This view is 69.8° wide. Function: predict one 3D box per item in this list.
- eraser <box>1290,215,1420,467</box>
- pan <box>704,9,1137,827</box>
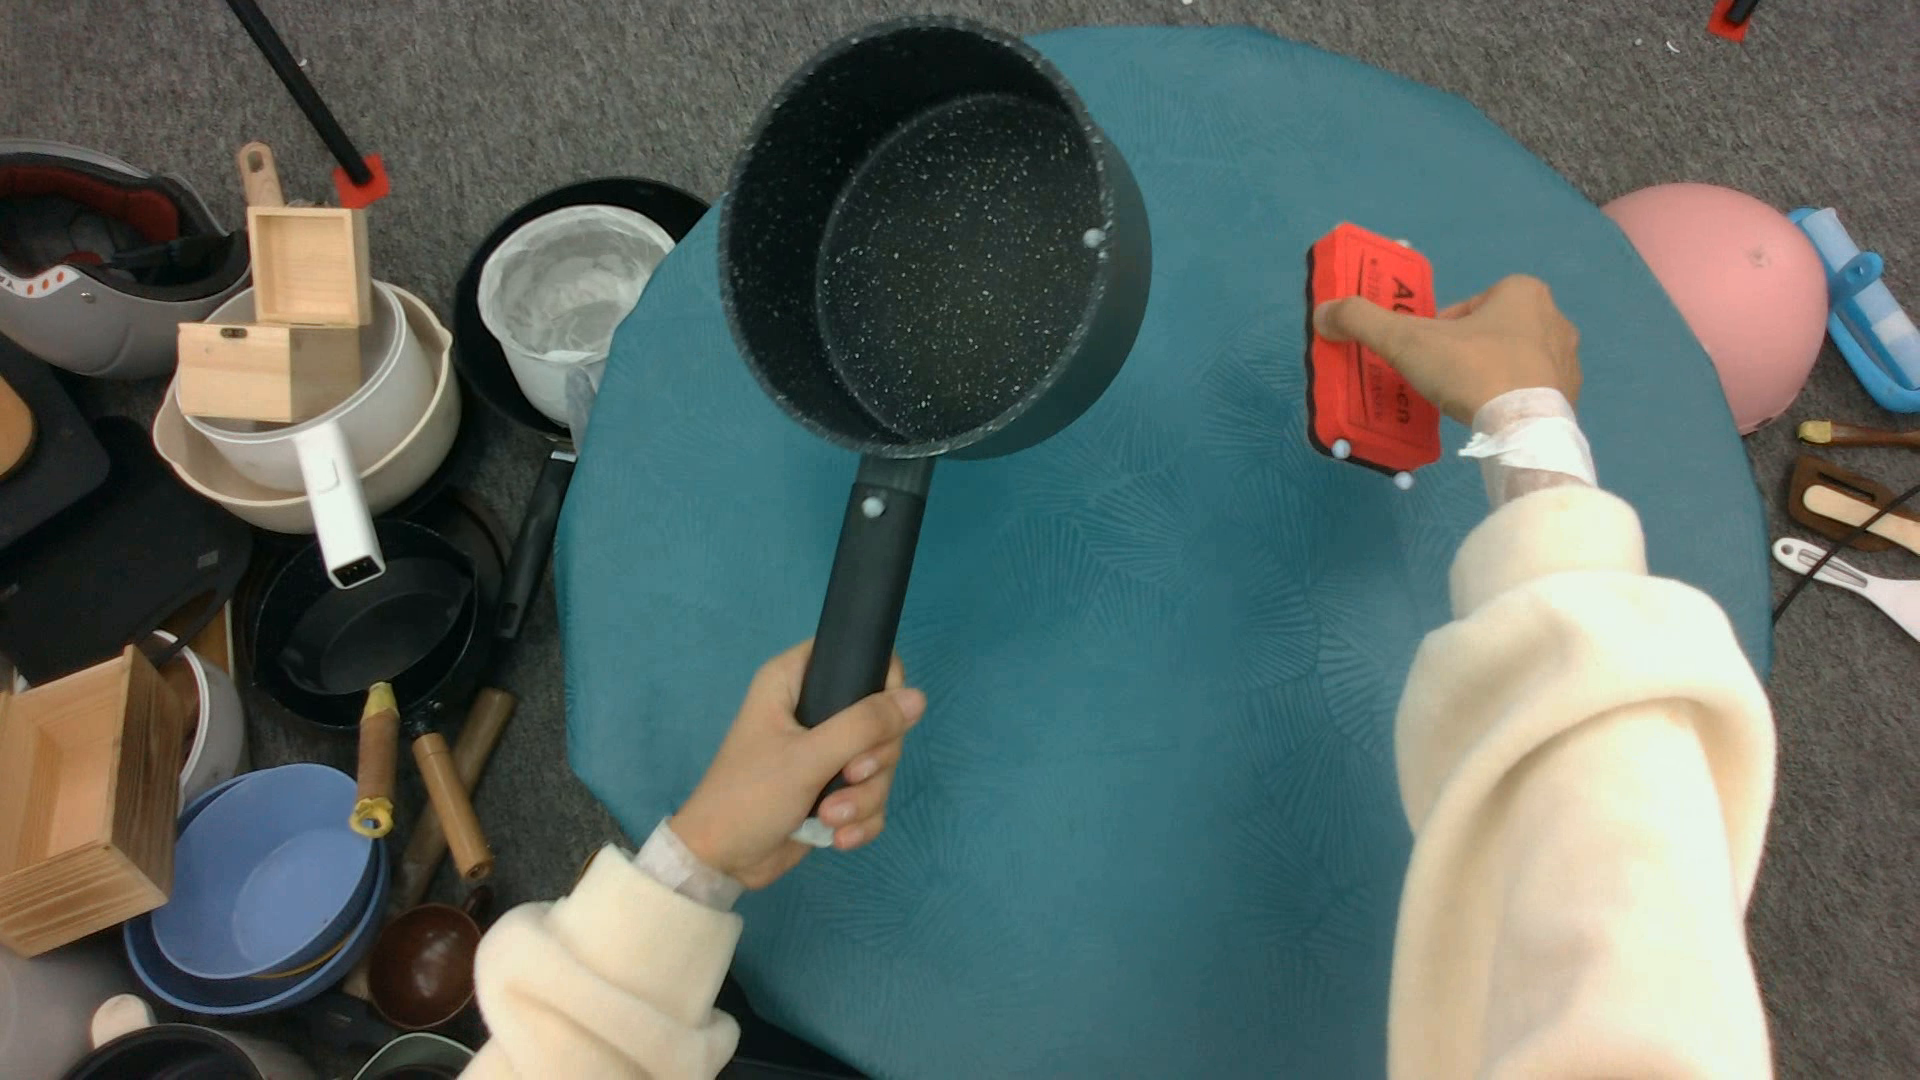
[{"bbox_3d":[0.178,-0.090,0.622,0.059,0.023,0.108,16,66,-23],"label":"eraser"},{"bbox_3d":[-0.029,-0.045,0.575,0.172,0.086,0.328,13,91,22],"label":"pan"}]
